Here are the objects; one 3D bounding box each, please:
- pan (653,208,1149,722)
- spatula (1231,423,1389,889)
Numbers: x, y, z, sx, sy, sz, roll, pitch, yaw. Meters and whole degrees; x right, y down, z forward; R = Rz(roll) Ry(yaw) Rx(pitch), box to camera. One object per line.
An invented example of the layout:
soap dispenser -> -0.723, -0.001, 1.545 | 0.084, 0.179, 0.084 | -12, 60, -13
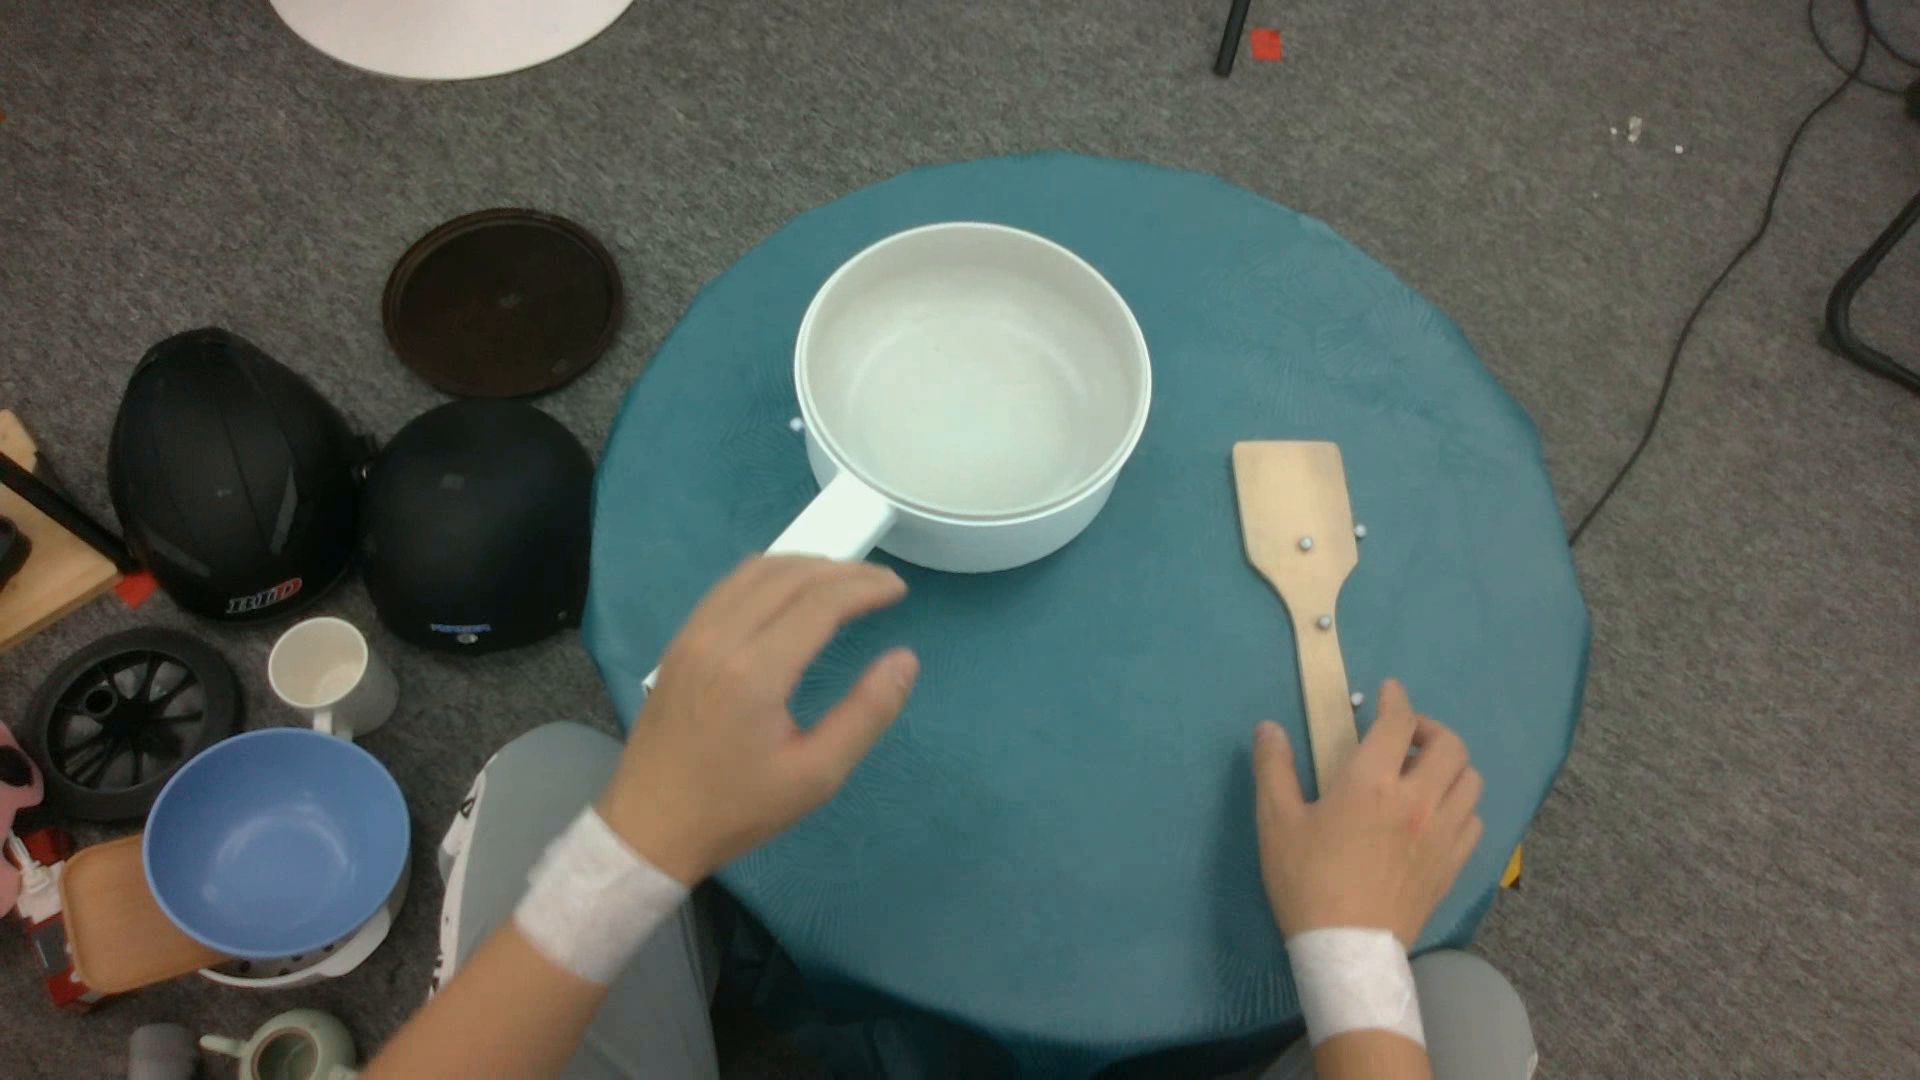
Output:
pan -> -0.039, -0.033, 0.794 | 0.201, 0.101, 0.356 | 35, 67, 10
spatula -> 0.216, 0.059, 0.817 | 0.072, 0.010, 0.294 | -1, 64, -6
